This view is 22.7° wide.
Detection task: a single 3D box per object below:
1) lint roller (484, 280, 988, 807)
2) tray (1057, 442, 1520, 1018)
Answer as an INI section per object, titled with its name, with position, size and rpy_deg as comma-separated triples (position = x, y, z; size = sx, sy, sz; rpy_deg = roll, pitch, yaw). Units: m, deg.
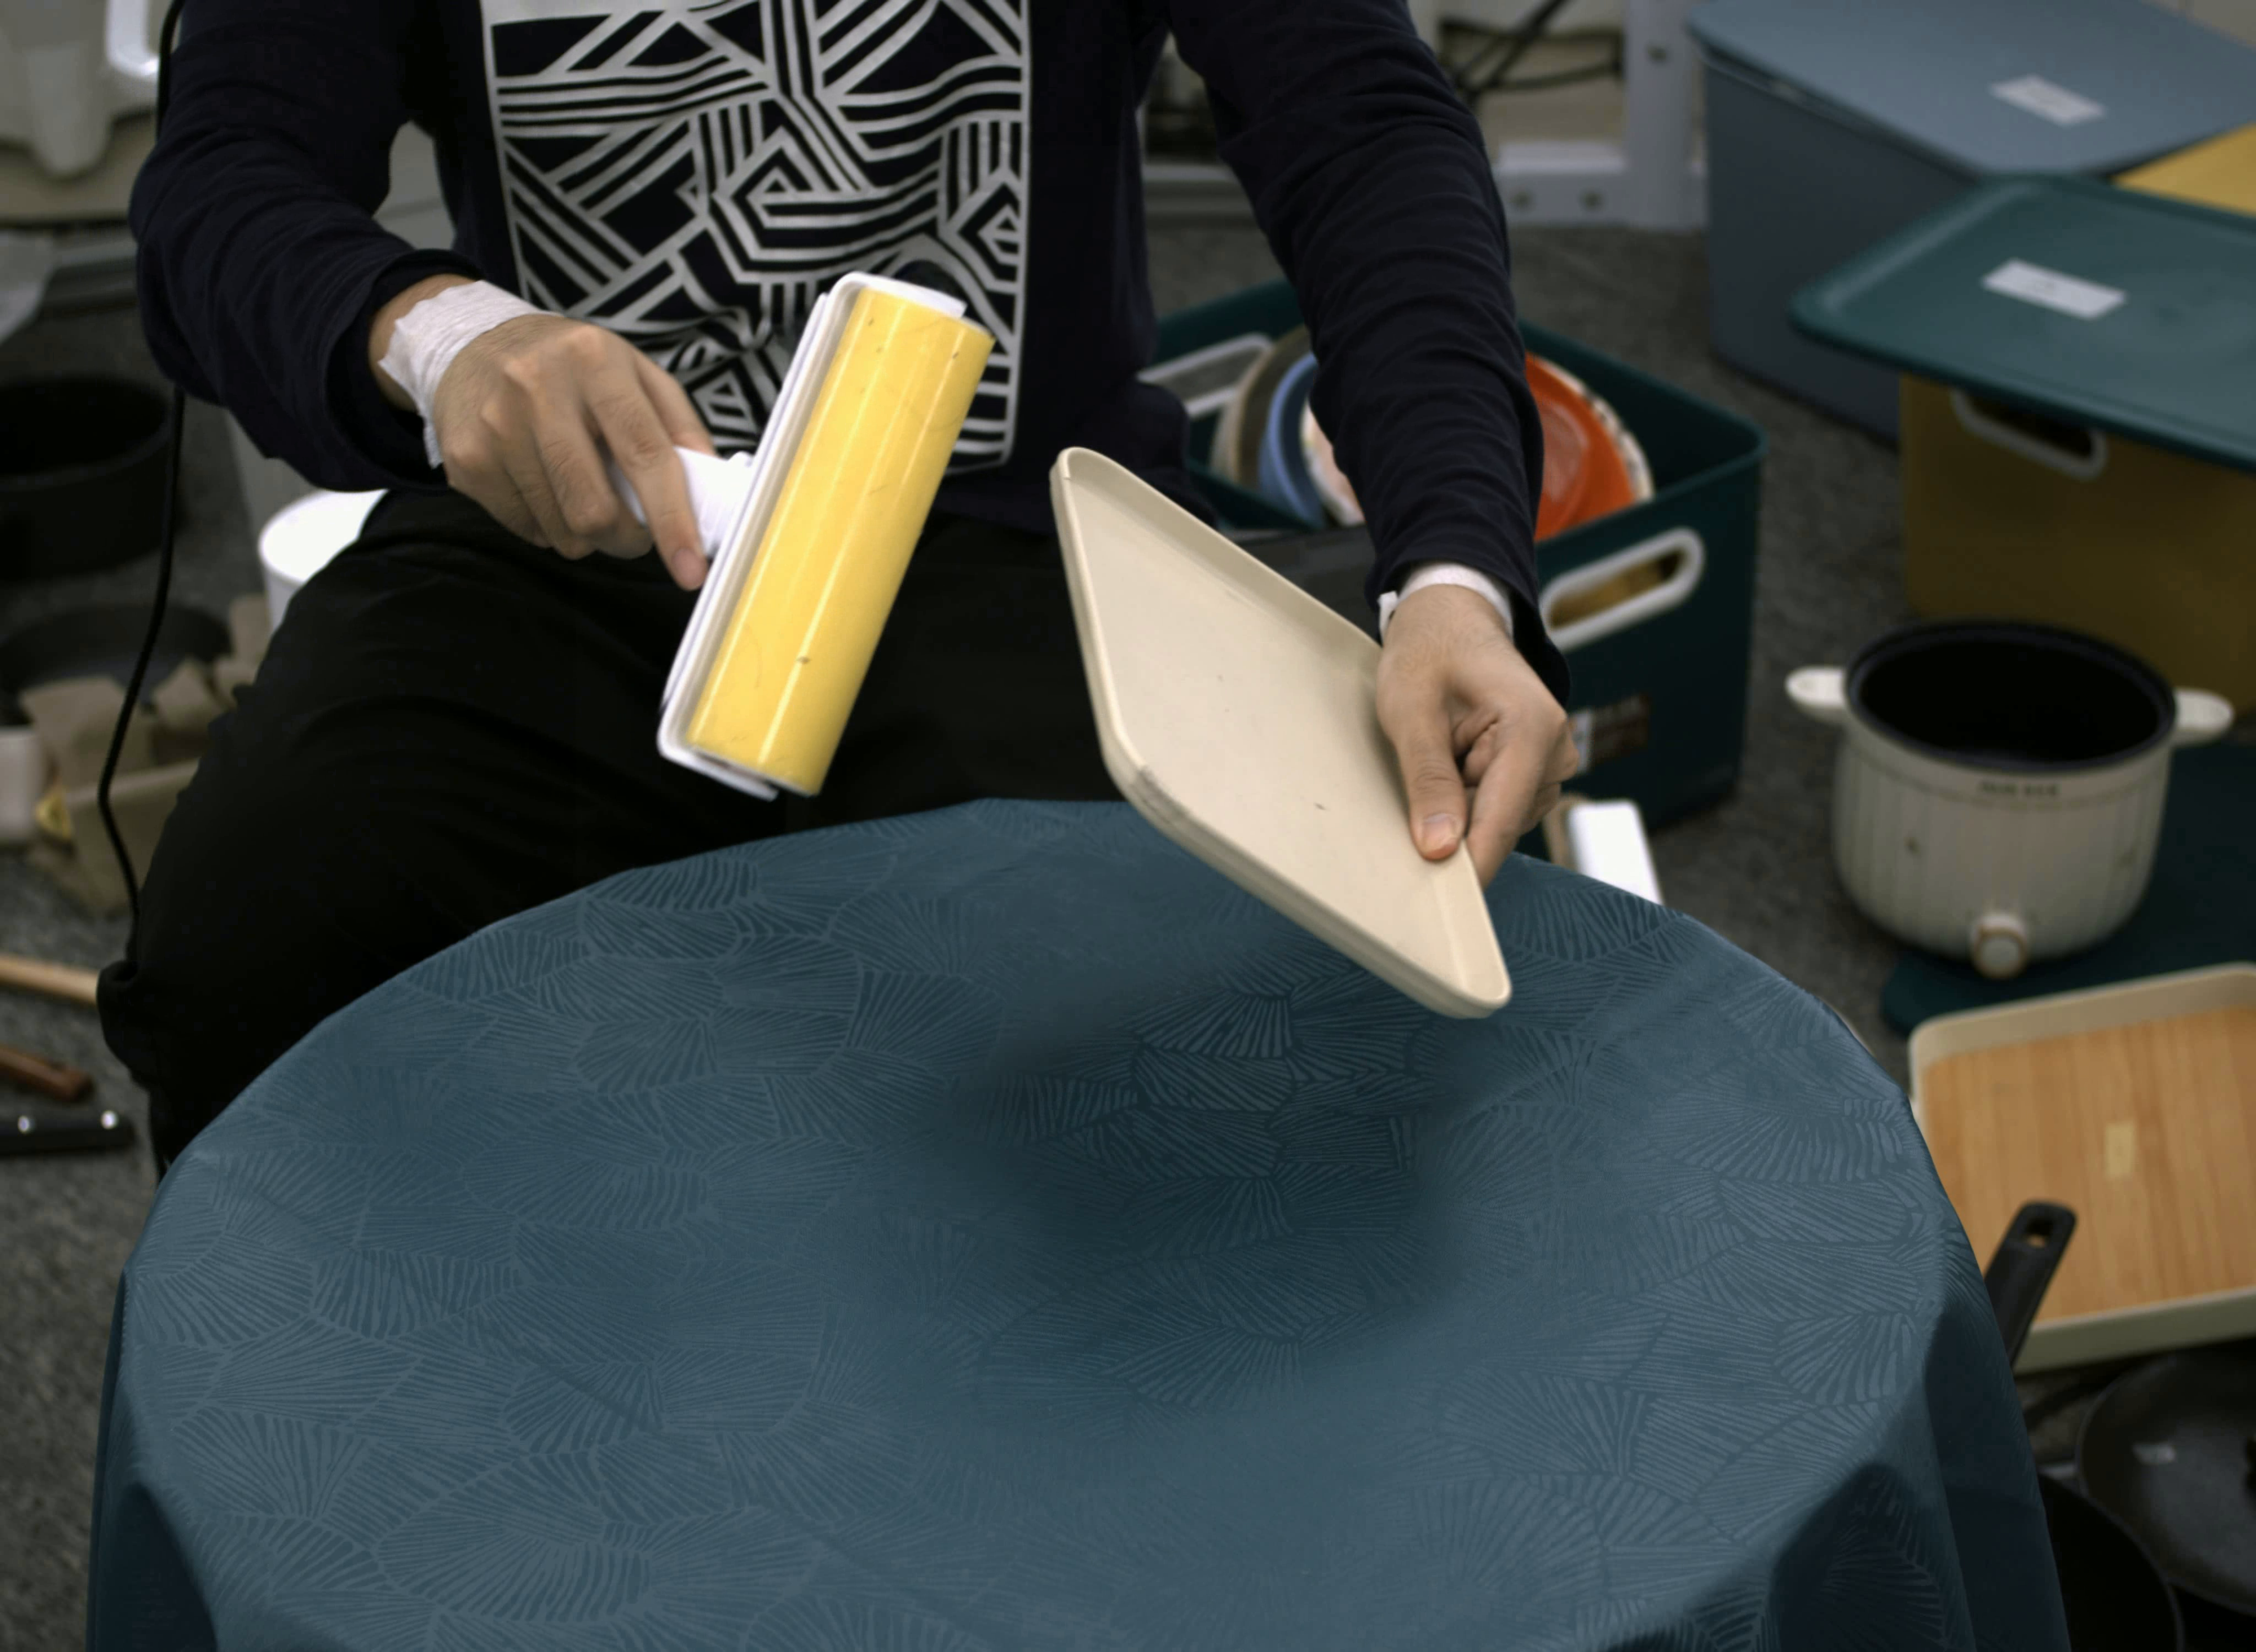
[lint roller]
position = -0.152, -0.109, 1.871
size = 0.191, 0.175, 0.051
rpy_deg = 18, -6, 32
[tray]
position = 0.049, -0.032, 1.881
size = 0.170, 0.017, 0.243
rpy_deg = 34, 21, -24
